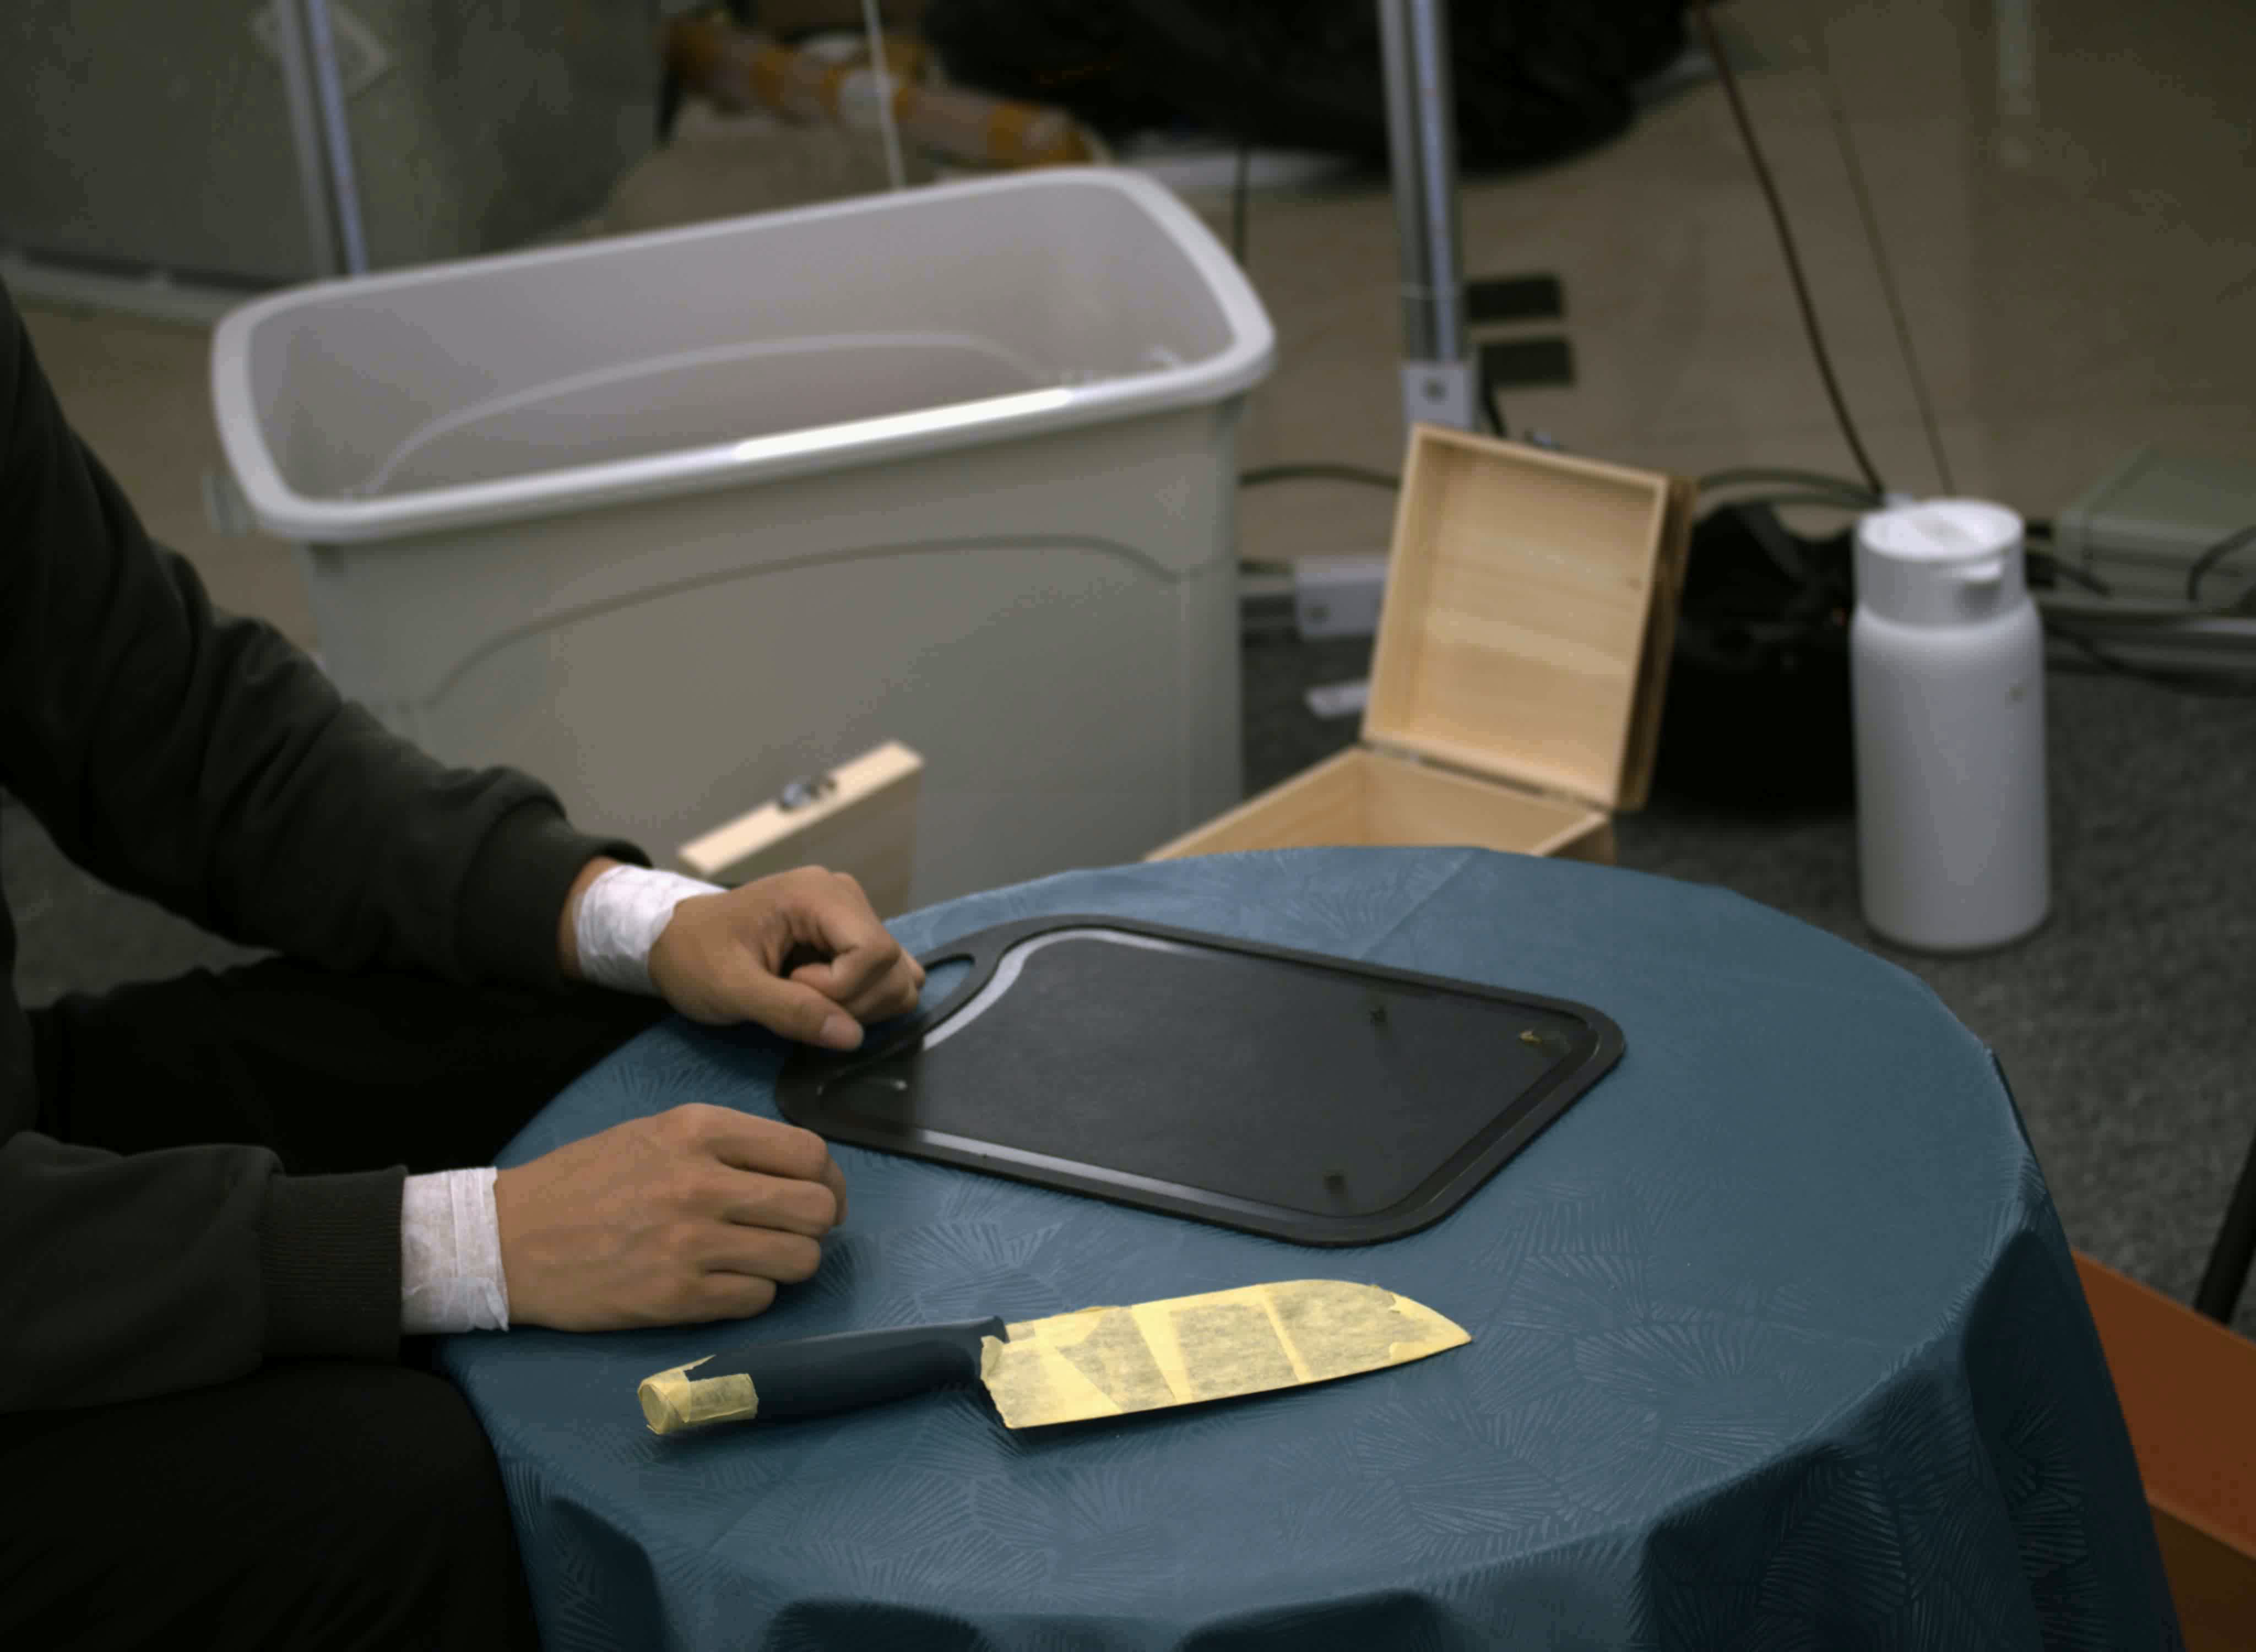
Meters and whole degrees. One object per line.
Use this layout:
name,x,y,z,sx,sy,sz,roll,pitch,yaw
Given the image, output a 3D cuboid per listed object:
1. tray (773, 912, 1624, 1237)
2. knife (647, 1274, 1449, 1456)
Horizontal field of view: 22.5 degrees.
tray,0.019,0.093,2.238,0.324,0.010,0.209,10,30,33
knife,-0.027,0.194,2.022,0.289,0.027,0.080,-9,24,-7
